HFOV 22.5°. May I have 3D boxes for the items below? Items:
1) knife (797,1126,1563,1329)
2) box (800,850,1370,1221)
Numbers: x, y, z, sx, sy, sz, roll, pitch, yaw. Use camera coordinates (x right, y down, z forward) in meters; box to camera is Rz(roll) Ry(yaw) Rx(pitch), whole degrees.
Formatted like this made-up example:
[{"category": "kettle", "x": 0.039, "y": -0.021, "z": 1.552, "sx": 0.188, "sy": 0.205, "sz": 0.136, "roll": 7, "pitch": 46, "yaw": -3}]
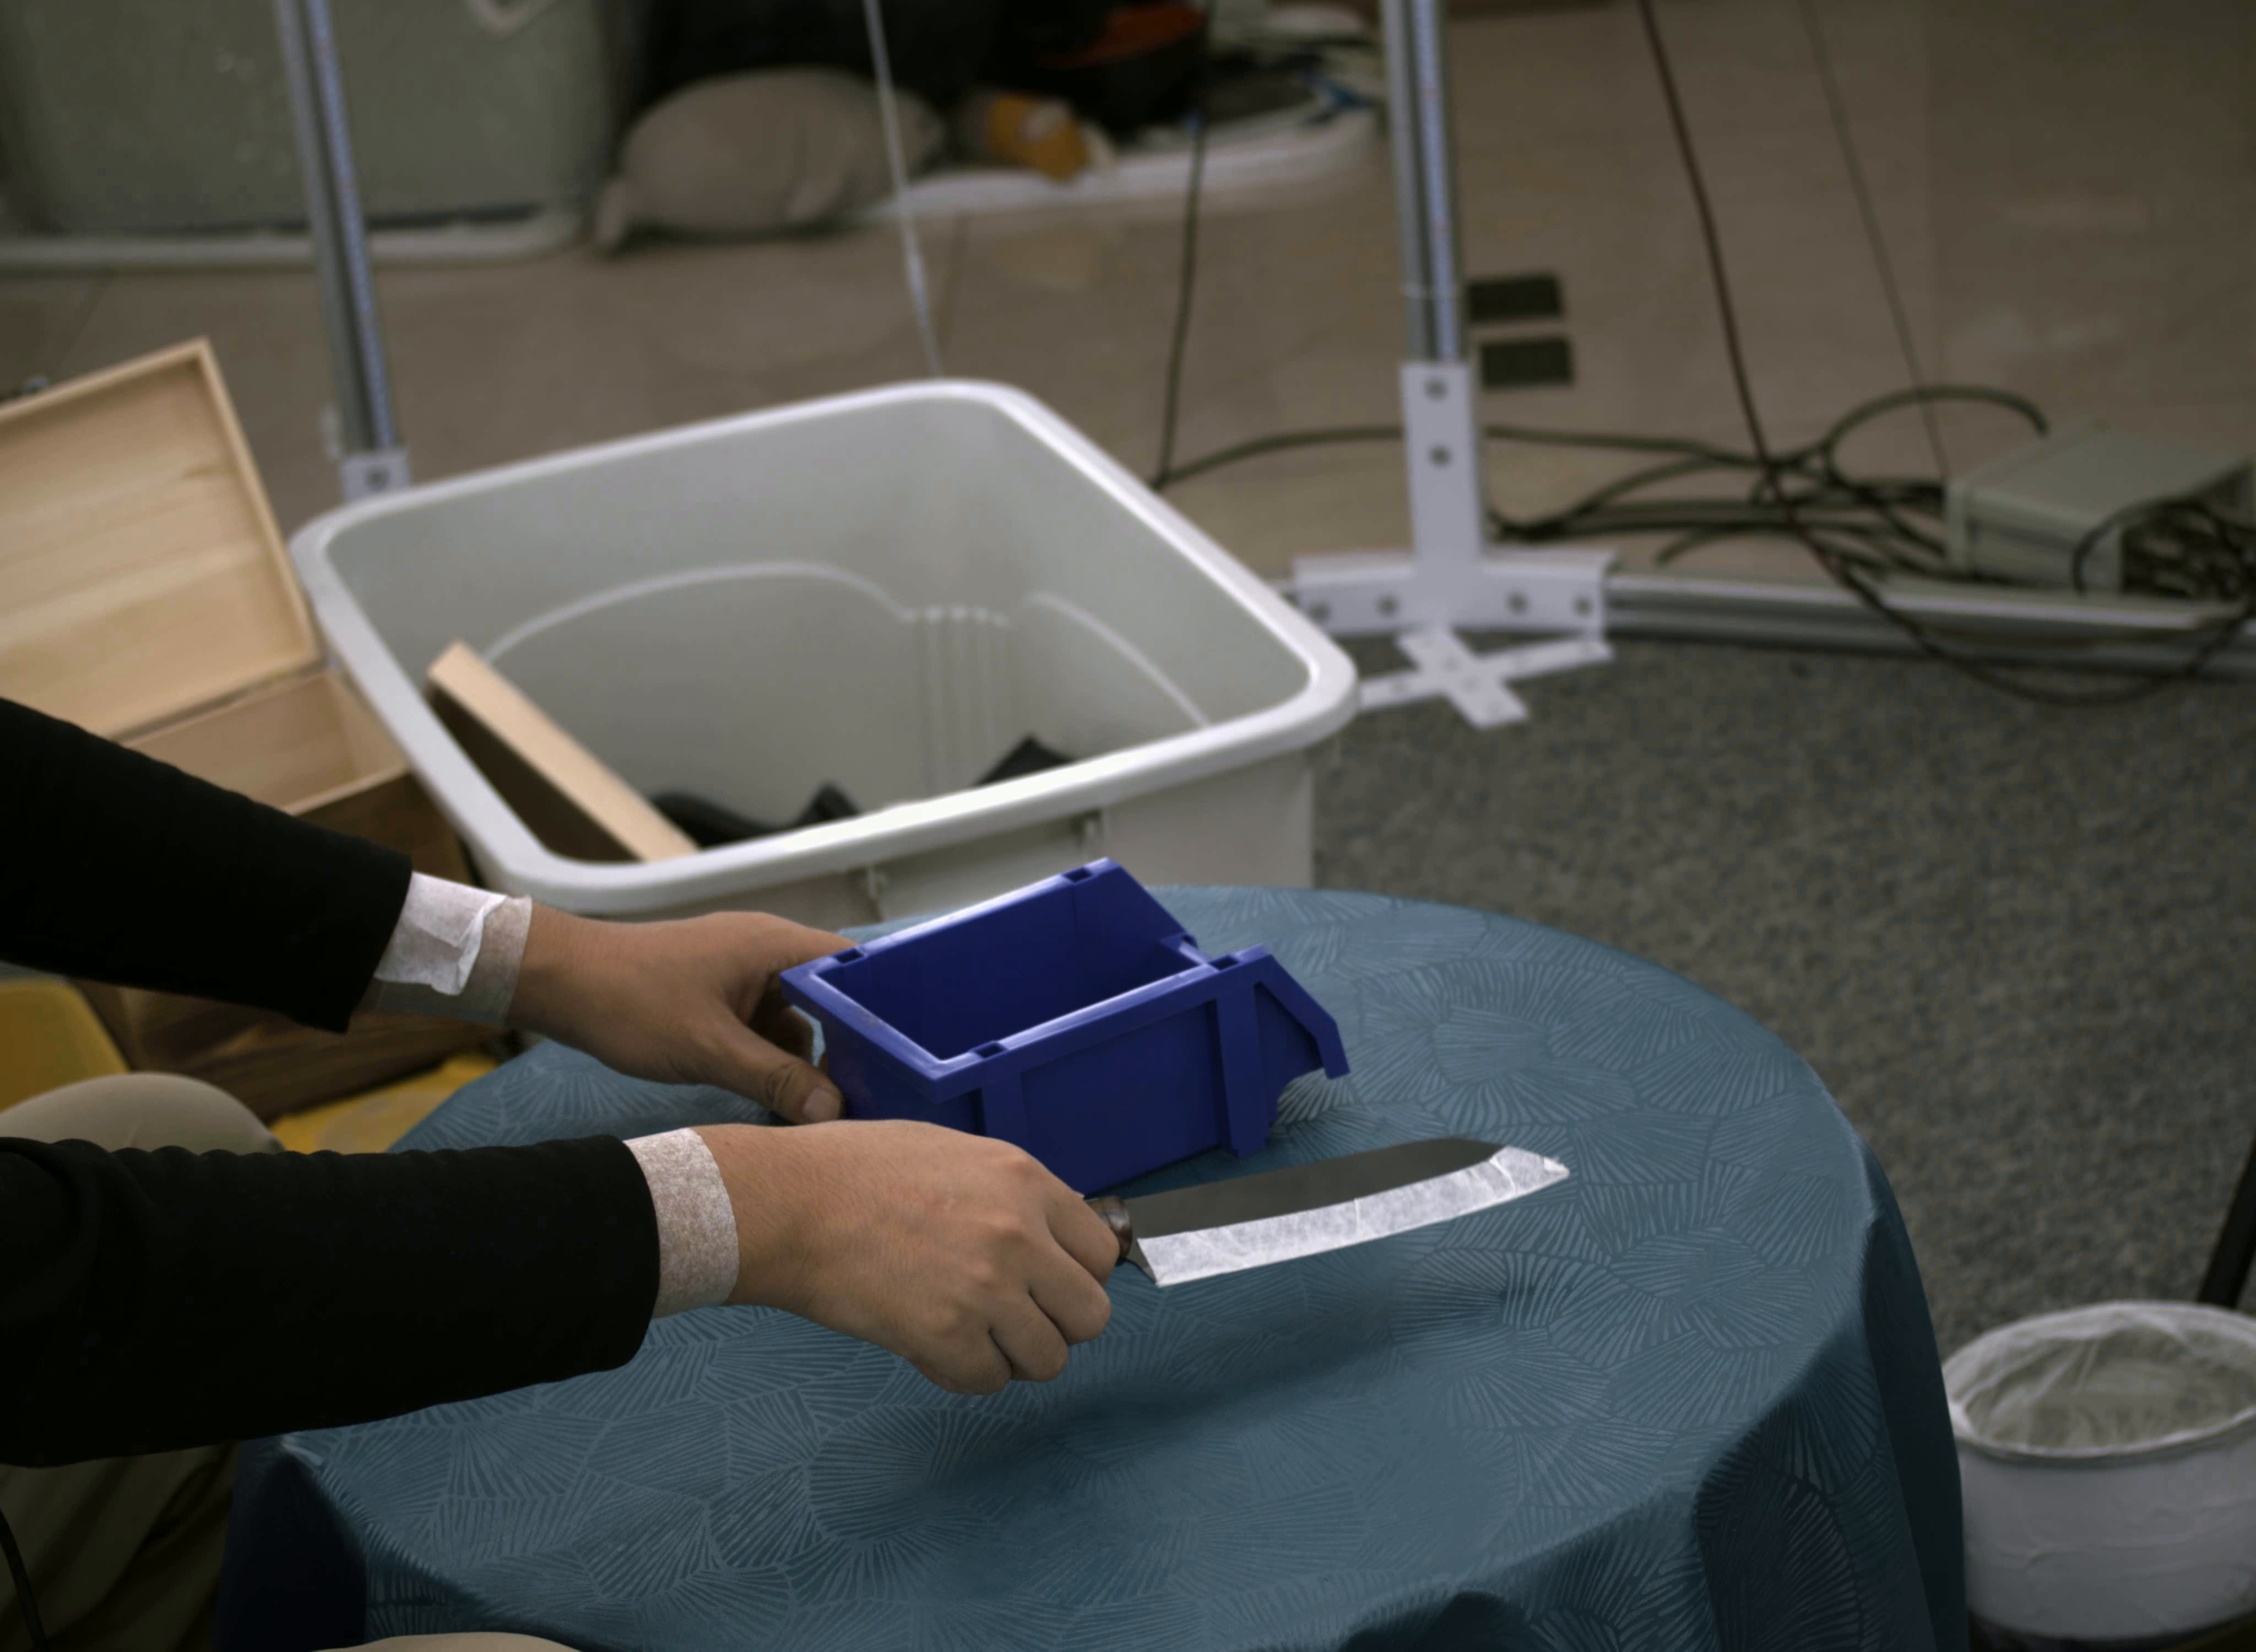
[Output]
[{"category": "knife", "x": 0.022, "y": 0.141, "z": 2.006, "sx": 0.288, "sy": 0.020, "sz": 0.049, "roll": -9, "pitch": 45, "yaw": -19}, {"category": "box", "x": -0.016, "y": 0.080, "z": 2.181, "sx": 0.178, "sy": 0.083, "sz": 0.123, "roll": -21, "pitch": 29, "yaw": -24}]
